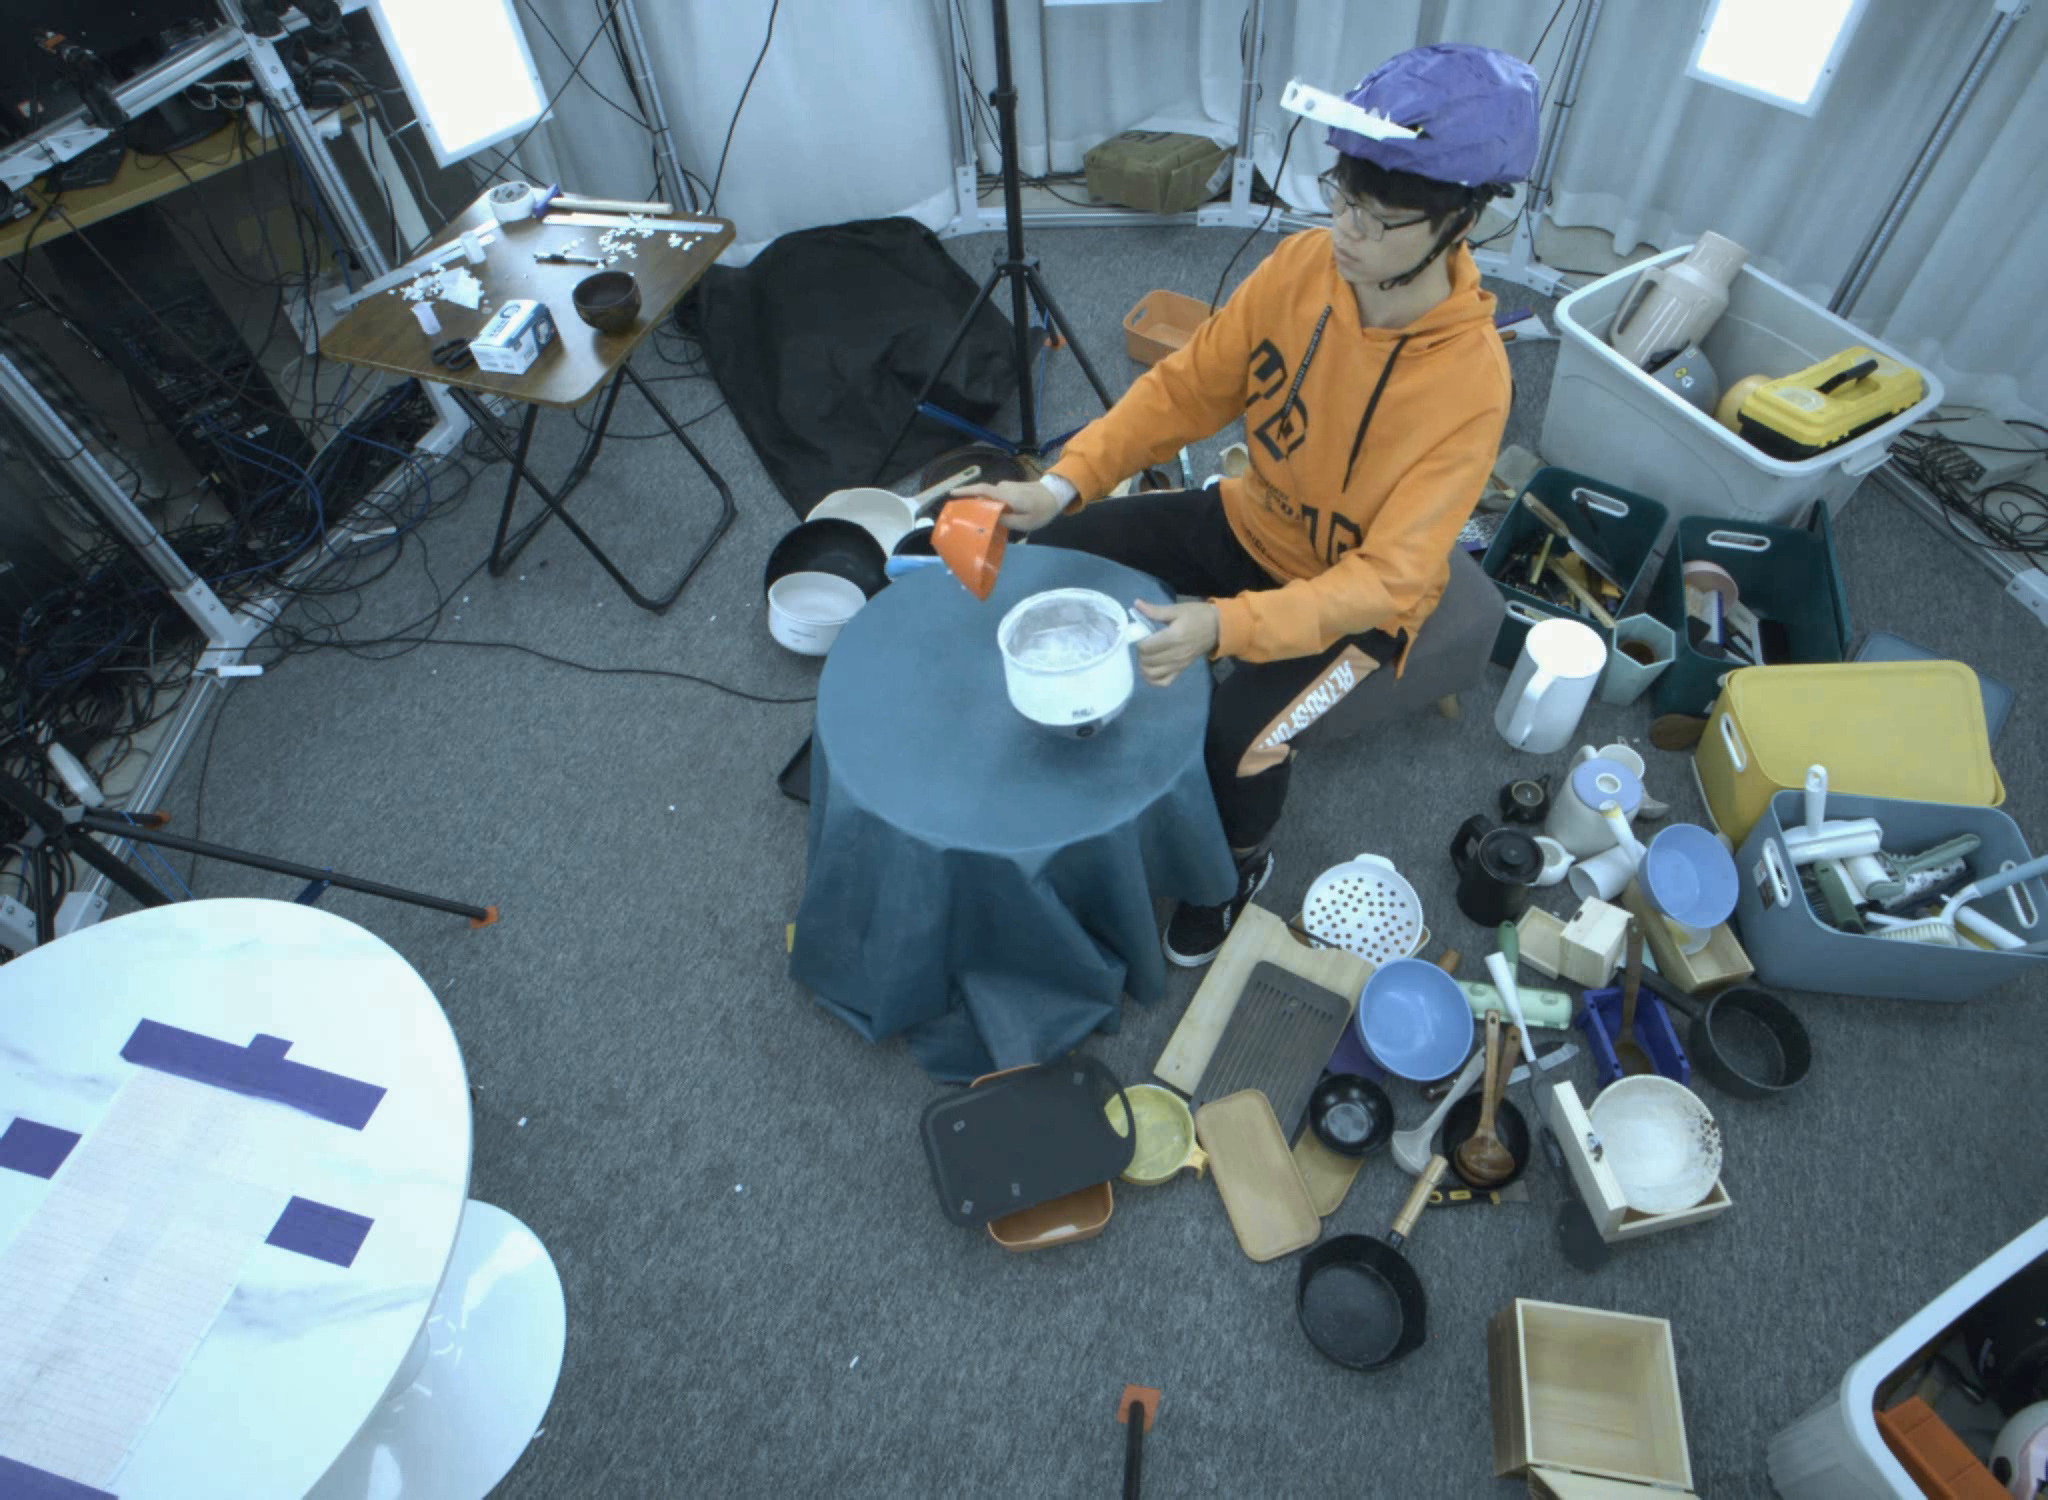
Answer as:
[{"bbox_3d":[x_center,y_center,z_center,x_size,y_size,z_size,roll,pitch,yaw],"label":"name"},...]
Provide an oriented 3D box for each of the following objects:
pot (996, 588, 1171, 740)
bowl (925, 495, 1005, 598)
[{"bbox_3d":[0.086,-0.126,1.700,0.234,0.138,0.175,-15,45,-4],"label":"pot"},{"bbox_3d":[-0.090,-0.310,1.791,0.105,0.147,0.147,26,58,-7],"label":"bowl"}]
